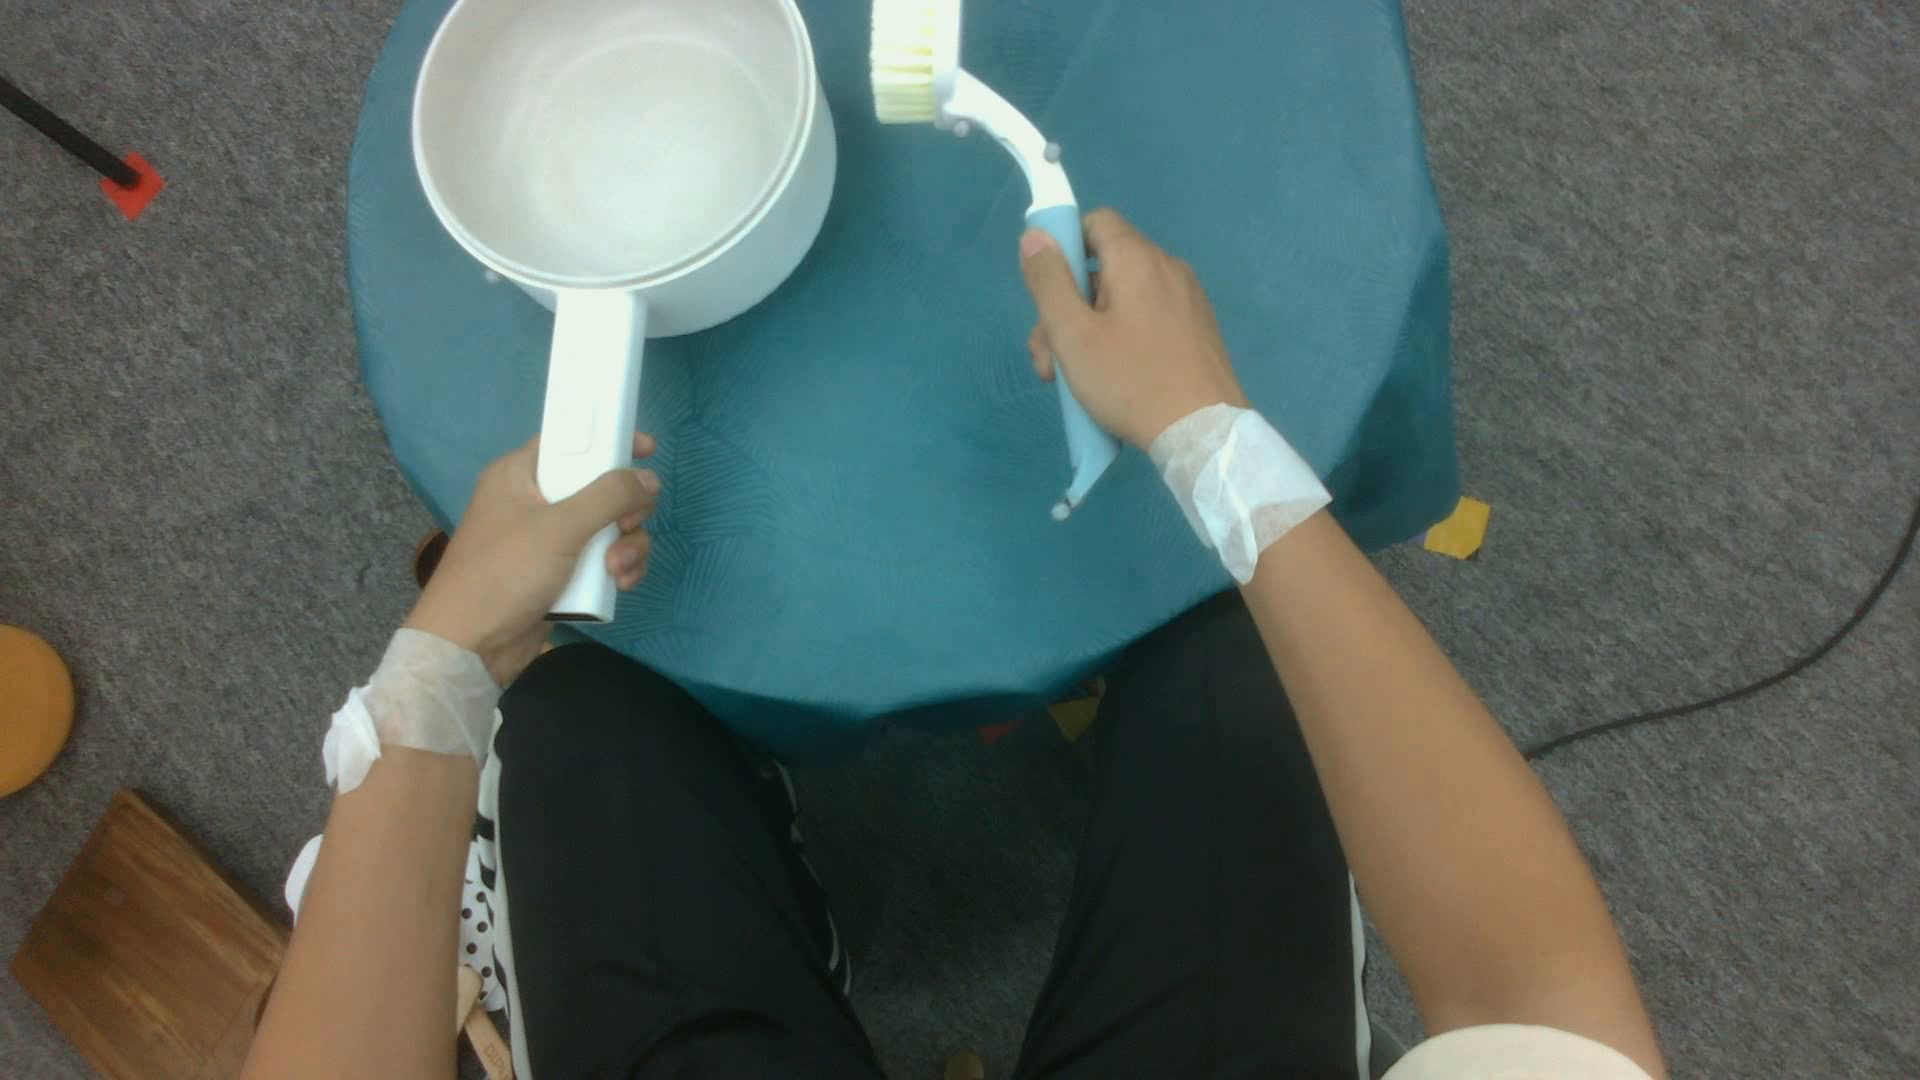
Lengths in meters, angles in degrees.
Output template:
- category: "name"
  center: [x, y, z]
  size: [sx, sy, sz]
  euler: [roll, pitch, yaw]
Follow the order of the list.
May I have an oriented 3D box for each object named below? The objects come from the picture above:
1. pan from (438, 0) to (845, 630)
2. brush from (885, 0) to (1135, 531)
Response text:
- category: "pan"
  center: [-0.164, -0.127, 0.718]
  size: [0.201, 0.102, 0.355]
  euler: [1, 78, 7]
- category: "brush"
  center: [0.003, -0.158, 0.643]
  size: [0.084, 0.083, 0.326]
  euler: [-17, 78, 36]
